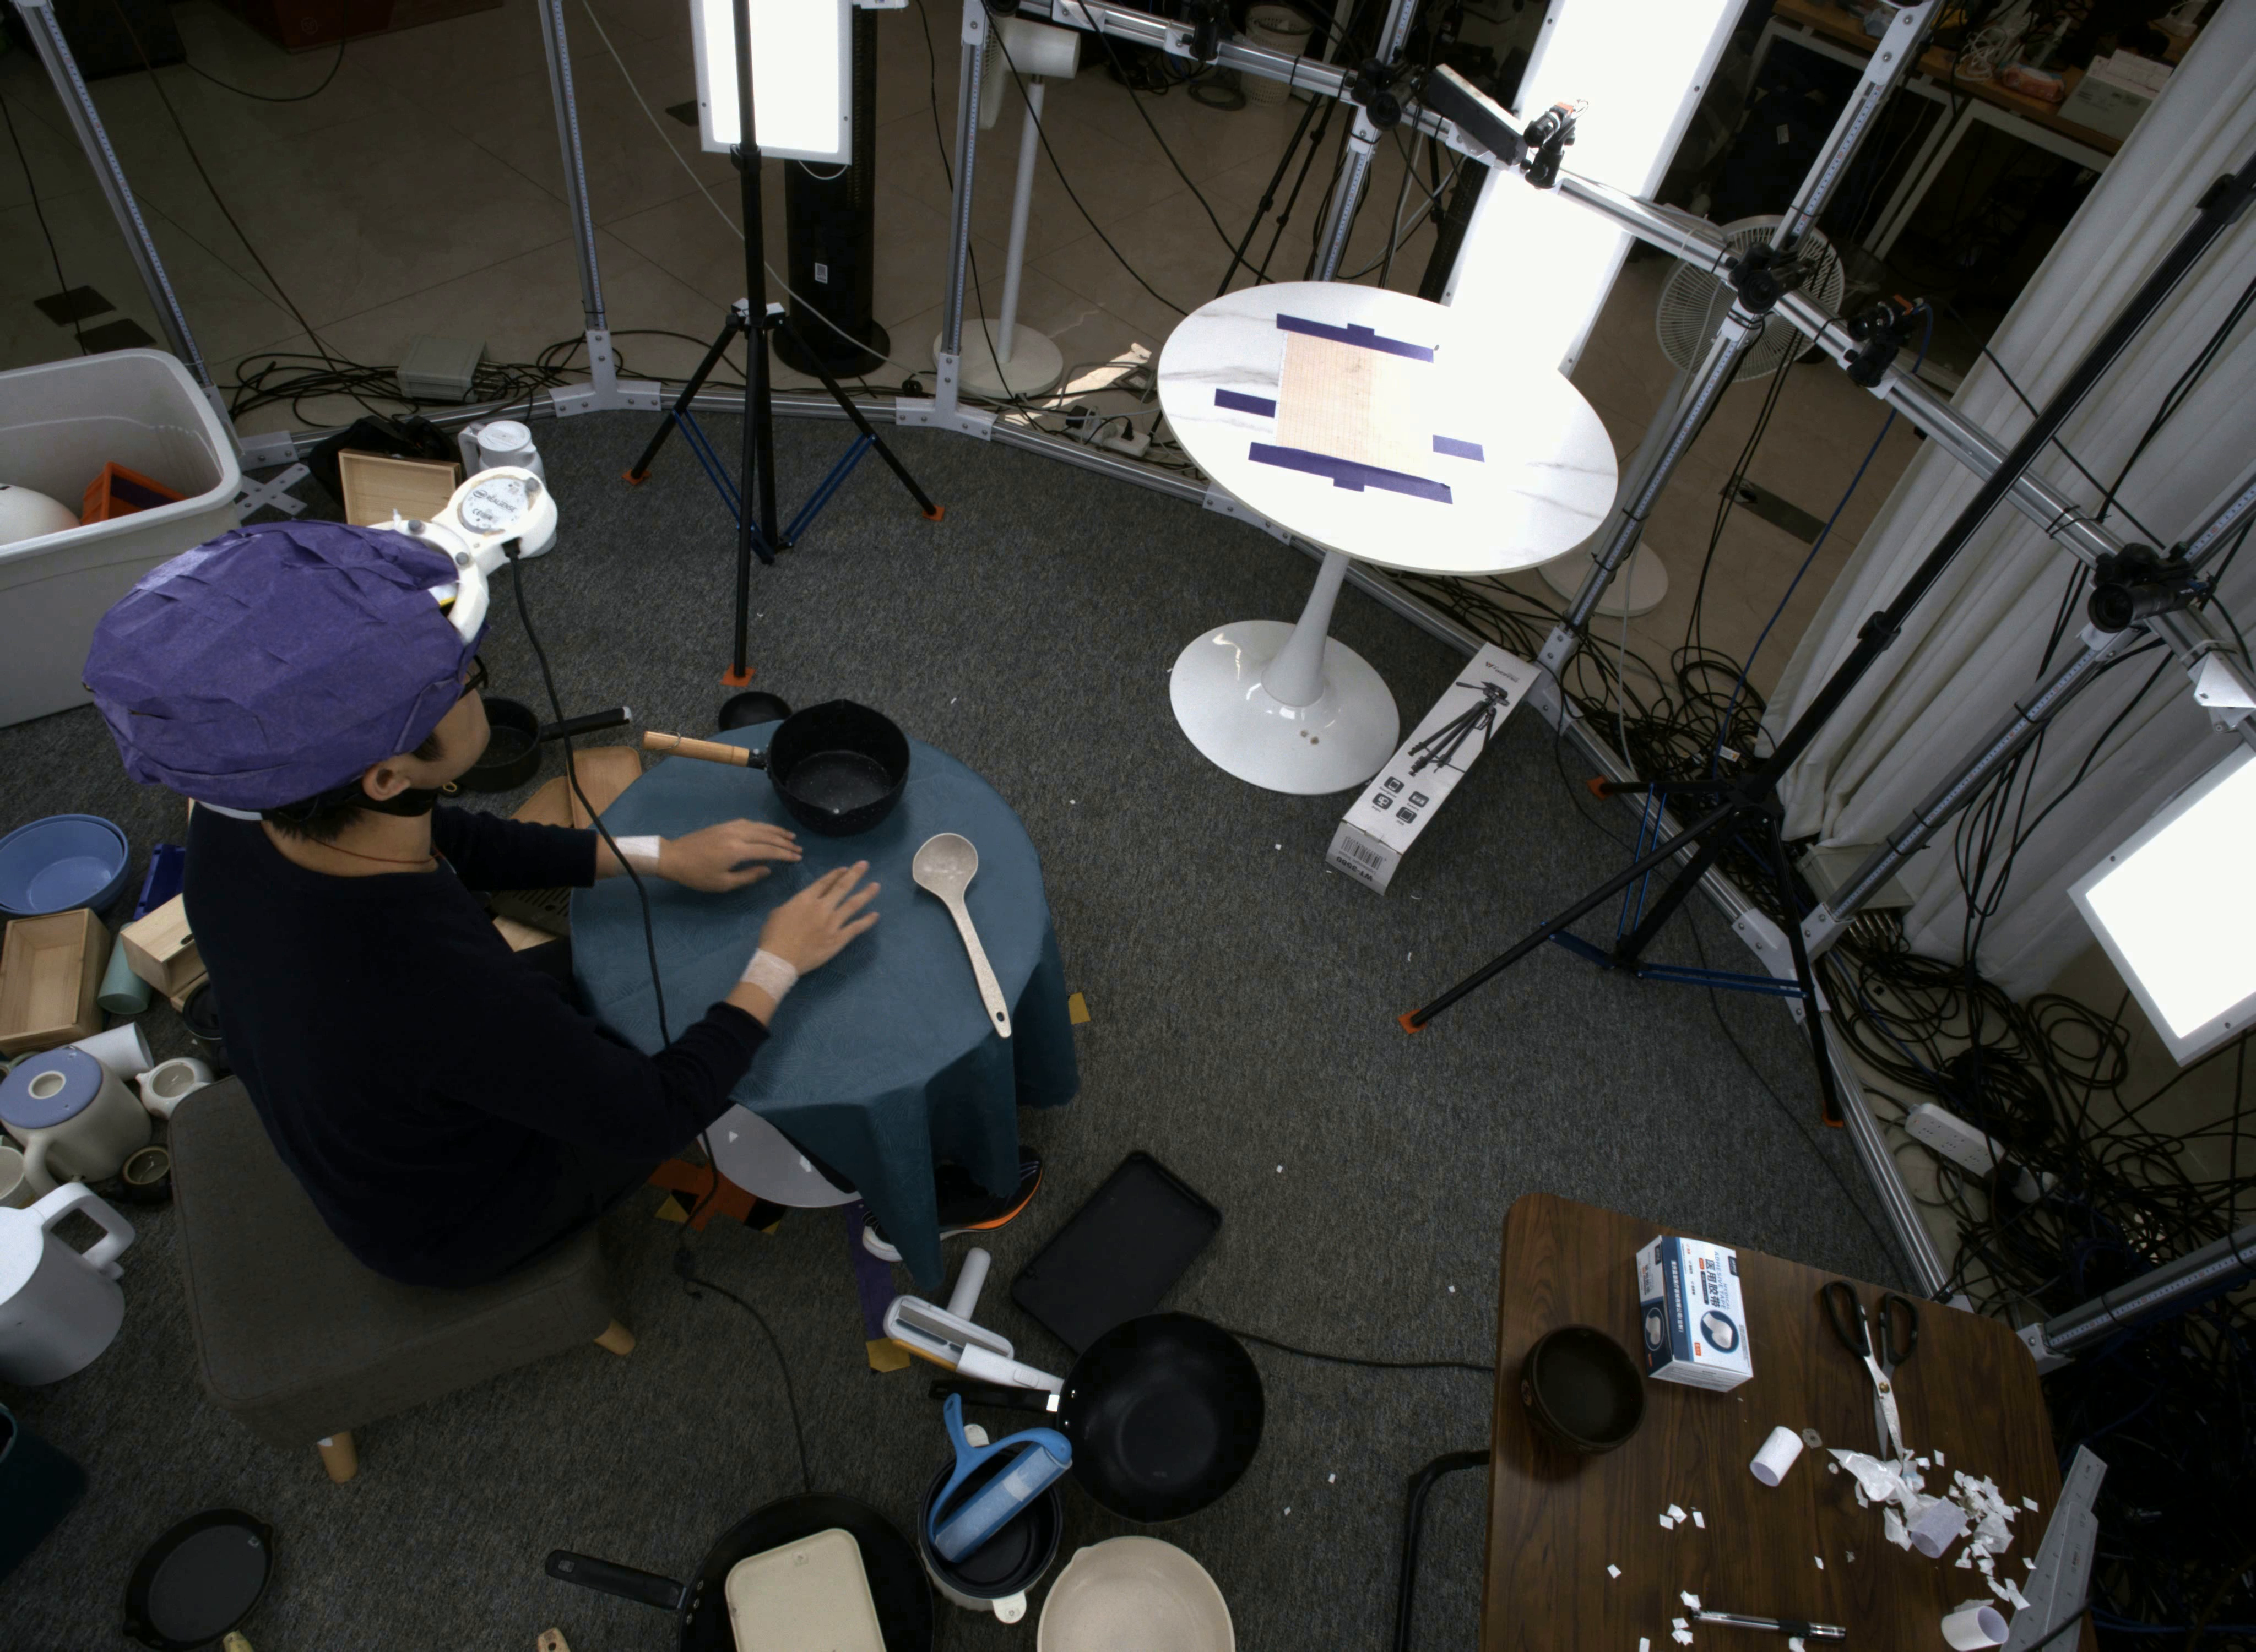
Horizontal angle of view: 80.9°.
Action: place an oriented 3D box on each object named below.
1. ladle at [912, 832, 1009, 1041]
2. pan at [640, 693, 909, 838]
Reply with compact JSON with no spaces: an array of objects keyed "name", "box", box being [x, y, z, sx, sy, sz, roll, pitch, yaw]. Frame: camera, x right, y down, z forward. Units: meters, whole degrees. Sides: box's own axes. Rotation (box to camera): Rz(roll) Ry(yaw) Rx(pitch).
[{"name":"ladle","box":[-0.196,0.133,1.636,0.090,0.070,0.268,-9,58,-31]},{"name":"pan","box":[-0.461,-0.079,1.693,0.344,0.110,0.203,1,54,-16]}]
